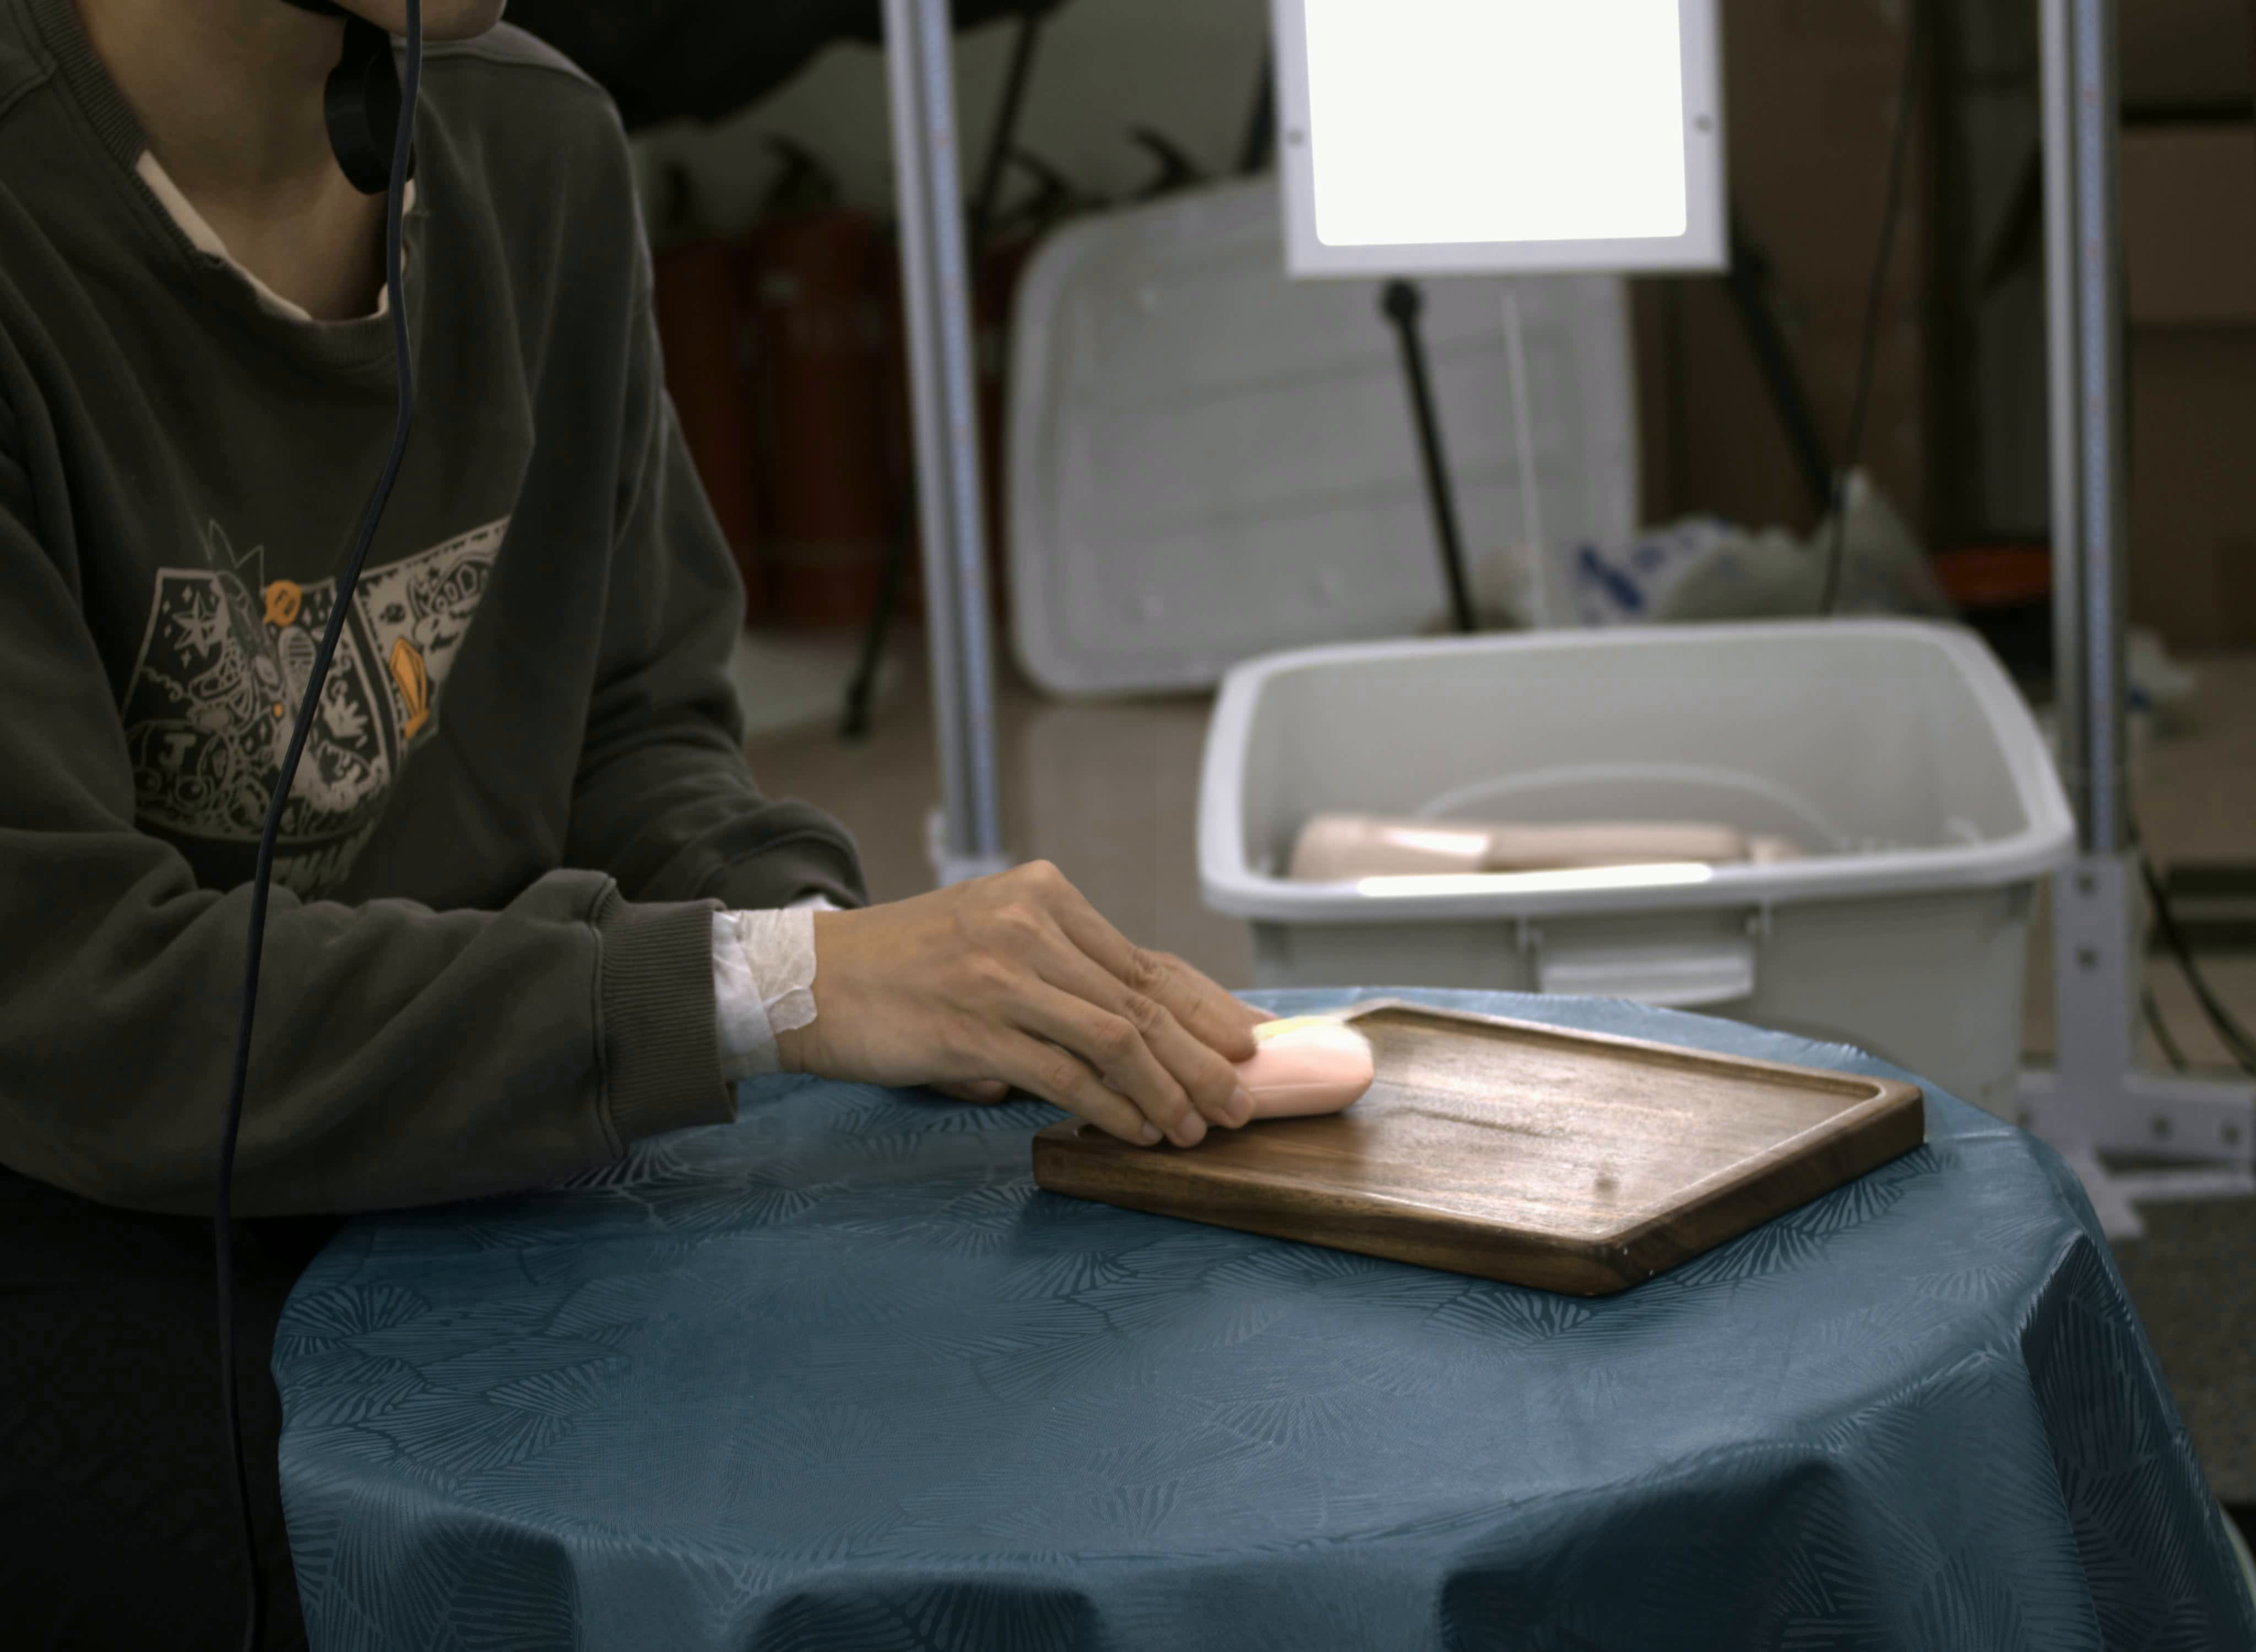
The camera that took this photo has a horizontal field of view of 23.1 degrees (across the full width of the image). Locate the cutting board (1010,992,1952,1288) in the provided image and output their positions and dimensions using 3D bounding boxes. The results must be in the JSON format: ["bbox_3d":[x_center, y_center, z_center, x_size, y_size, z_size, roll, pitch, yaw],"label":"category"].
[{"bbox_3d":[0.094,0.099,1.930,0.360,0.023,0.196,8,19,43],"label":"cutting board"}]

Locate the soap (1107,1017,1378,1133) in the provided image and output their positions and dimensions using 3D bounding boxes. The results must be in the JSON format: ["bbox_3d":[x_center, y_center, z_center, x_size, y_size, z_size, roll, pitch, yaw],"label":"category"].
[{"bbox_3d":[0.040,0.087,1.915,0.093,0.030,0.051,-8,15,-12],"label":"soap"}]
